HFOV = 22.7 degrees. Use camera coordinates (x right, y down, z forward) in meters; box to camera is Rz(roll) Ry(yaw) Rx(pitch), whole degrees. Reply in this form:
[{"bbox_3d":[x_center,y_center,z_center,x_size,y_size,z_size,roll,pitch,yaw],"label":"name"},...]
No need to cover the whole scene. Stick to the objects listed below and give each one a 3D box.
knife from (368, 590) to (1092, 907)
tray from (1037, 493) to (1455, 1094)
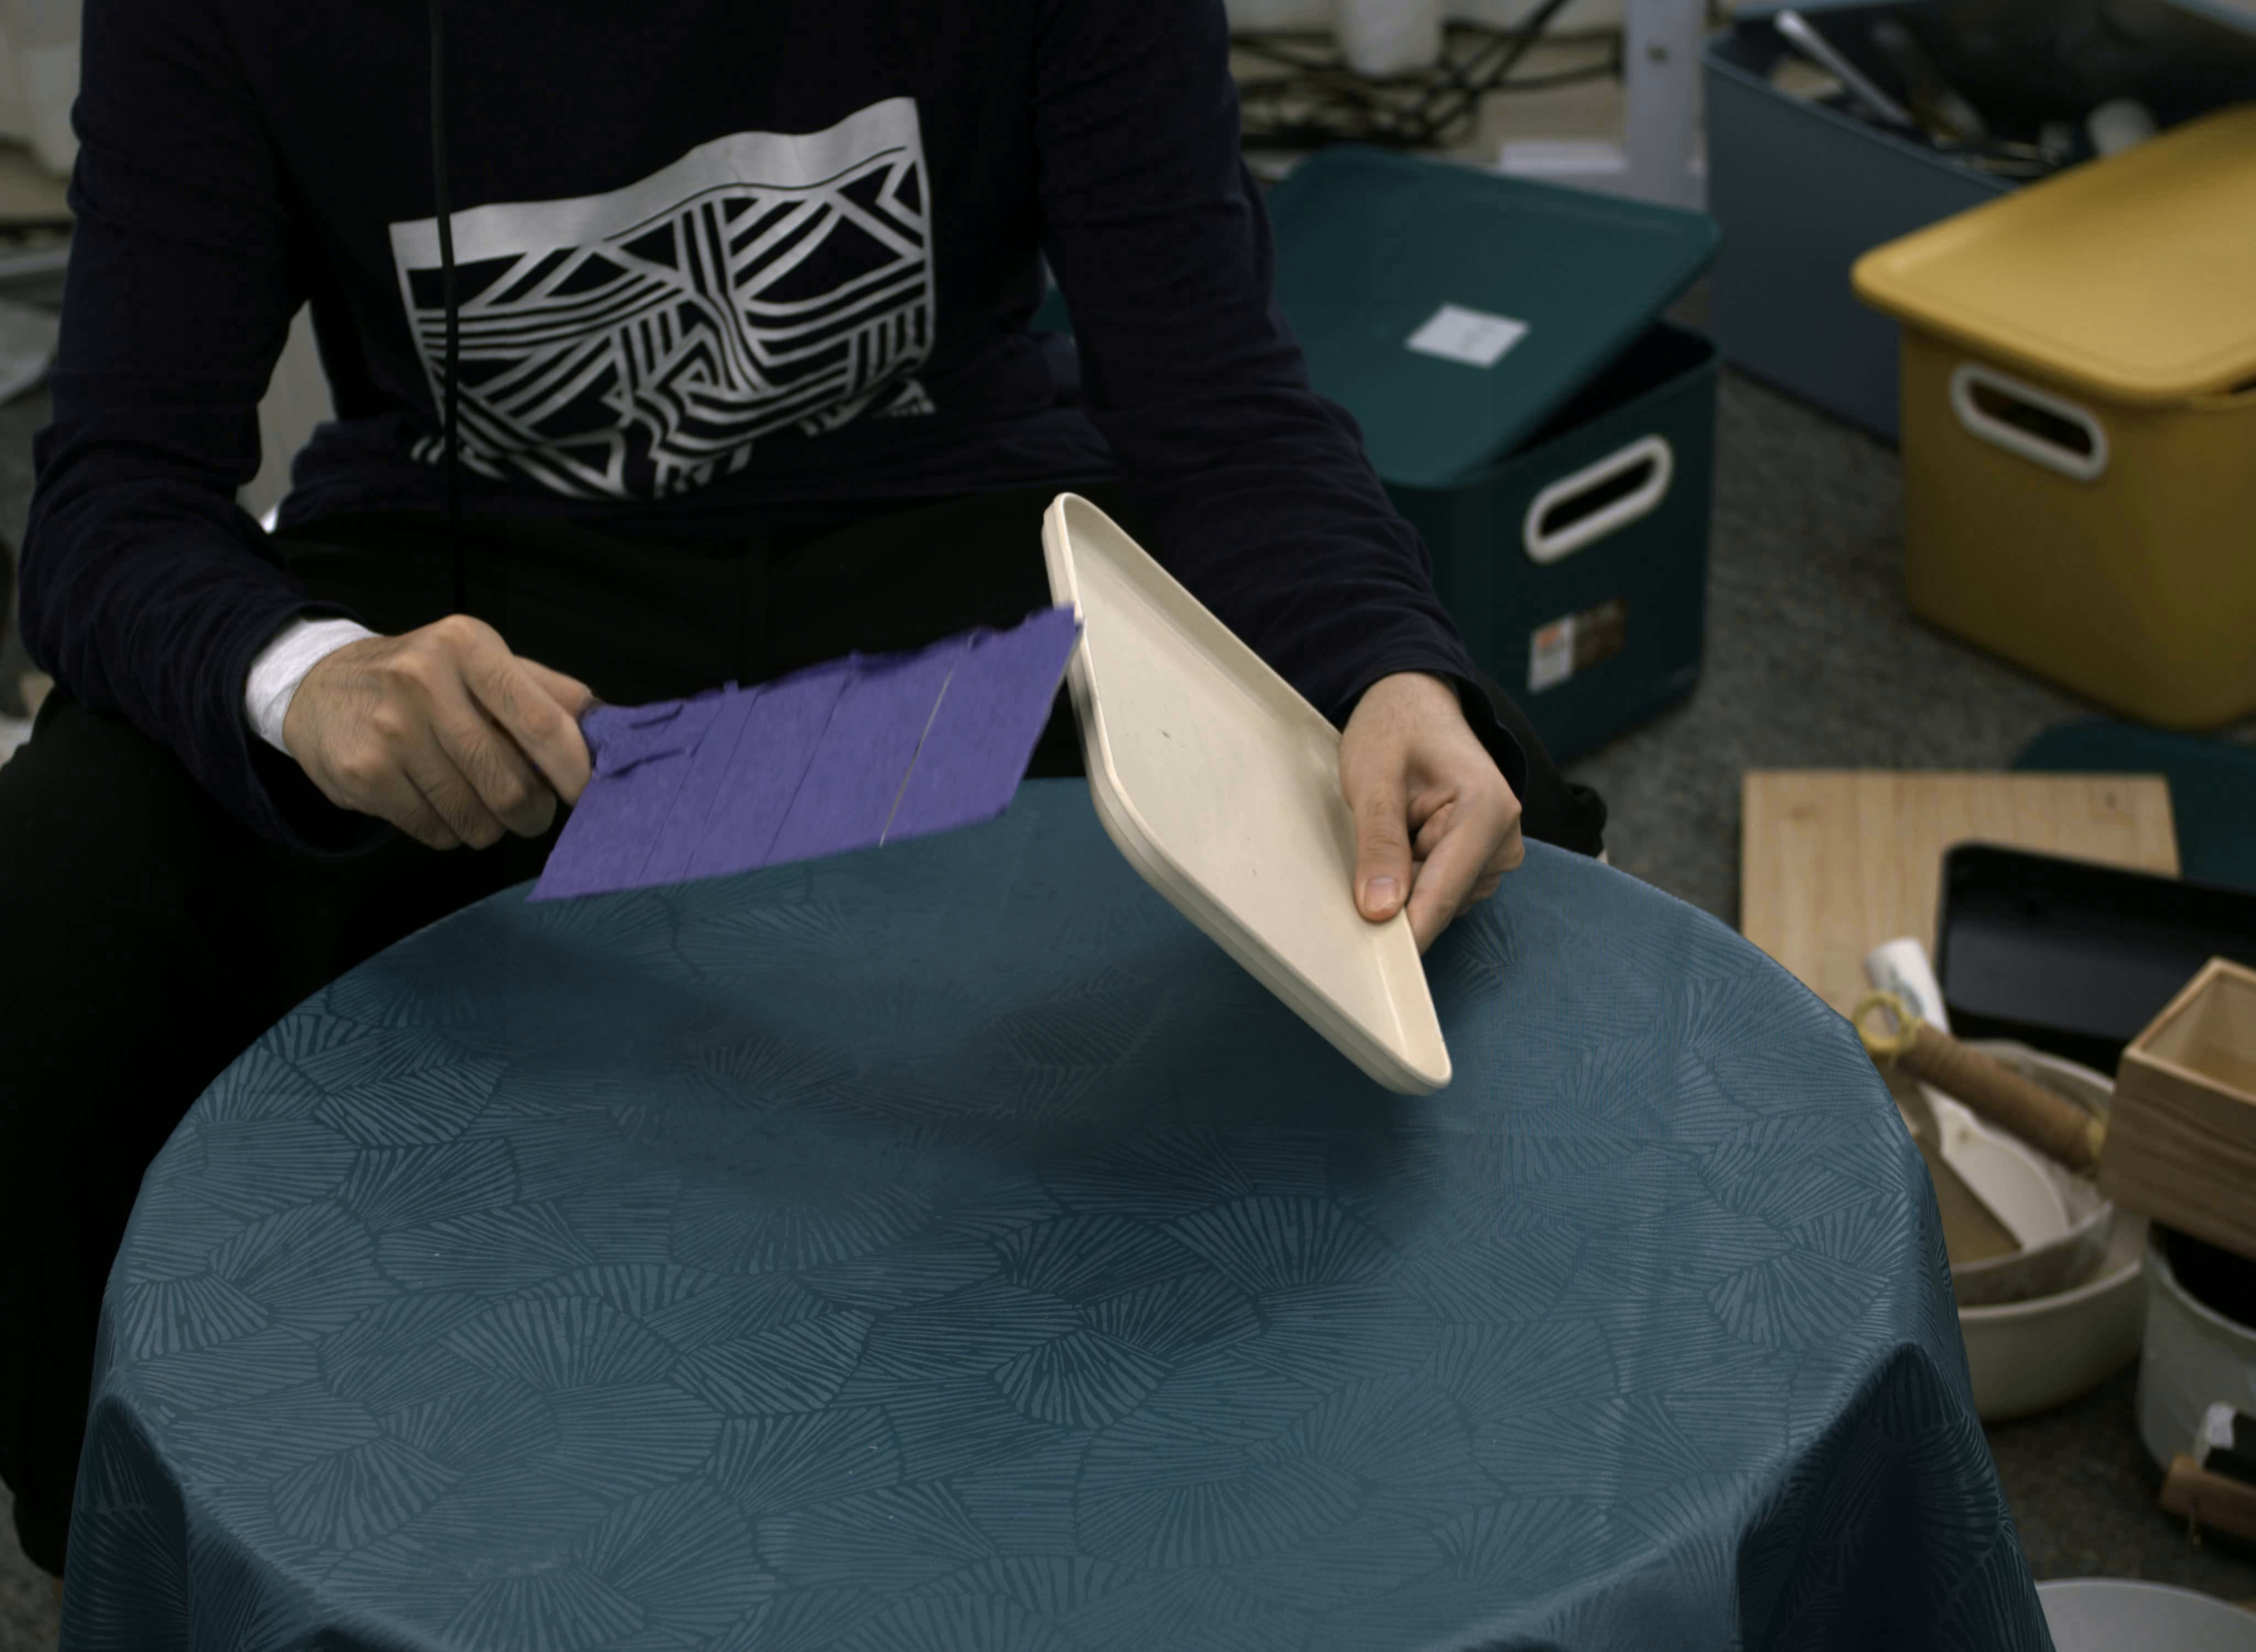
[{"bbox_3d":[-0.149,-0.016,1.886,0.311,0.032,0.106,-13,38,37],"label":"knife"},{"bbox_3d":[0.035,-0.011,1.906,0.017,0.170,0.243,-41,26,16],"label":"tray"}]
